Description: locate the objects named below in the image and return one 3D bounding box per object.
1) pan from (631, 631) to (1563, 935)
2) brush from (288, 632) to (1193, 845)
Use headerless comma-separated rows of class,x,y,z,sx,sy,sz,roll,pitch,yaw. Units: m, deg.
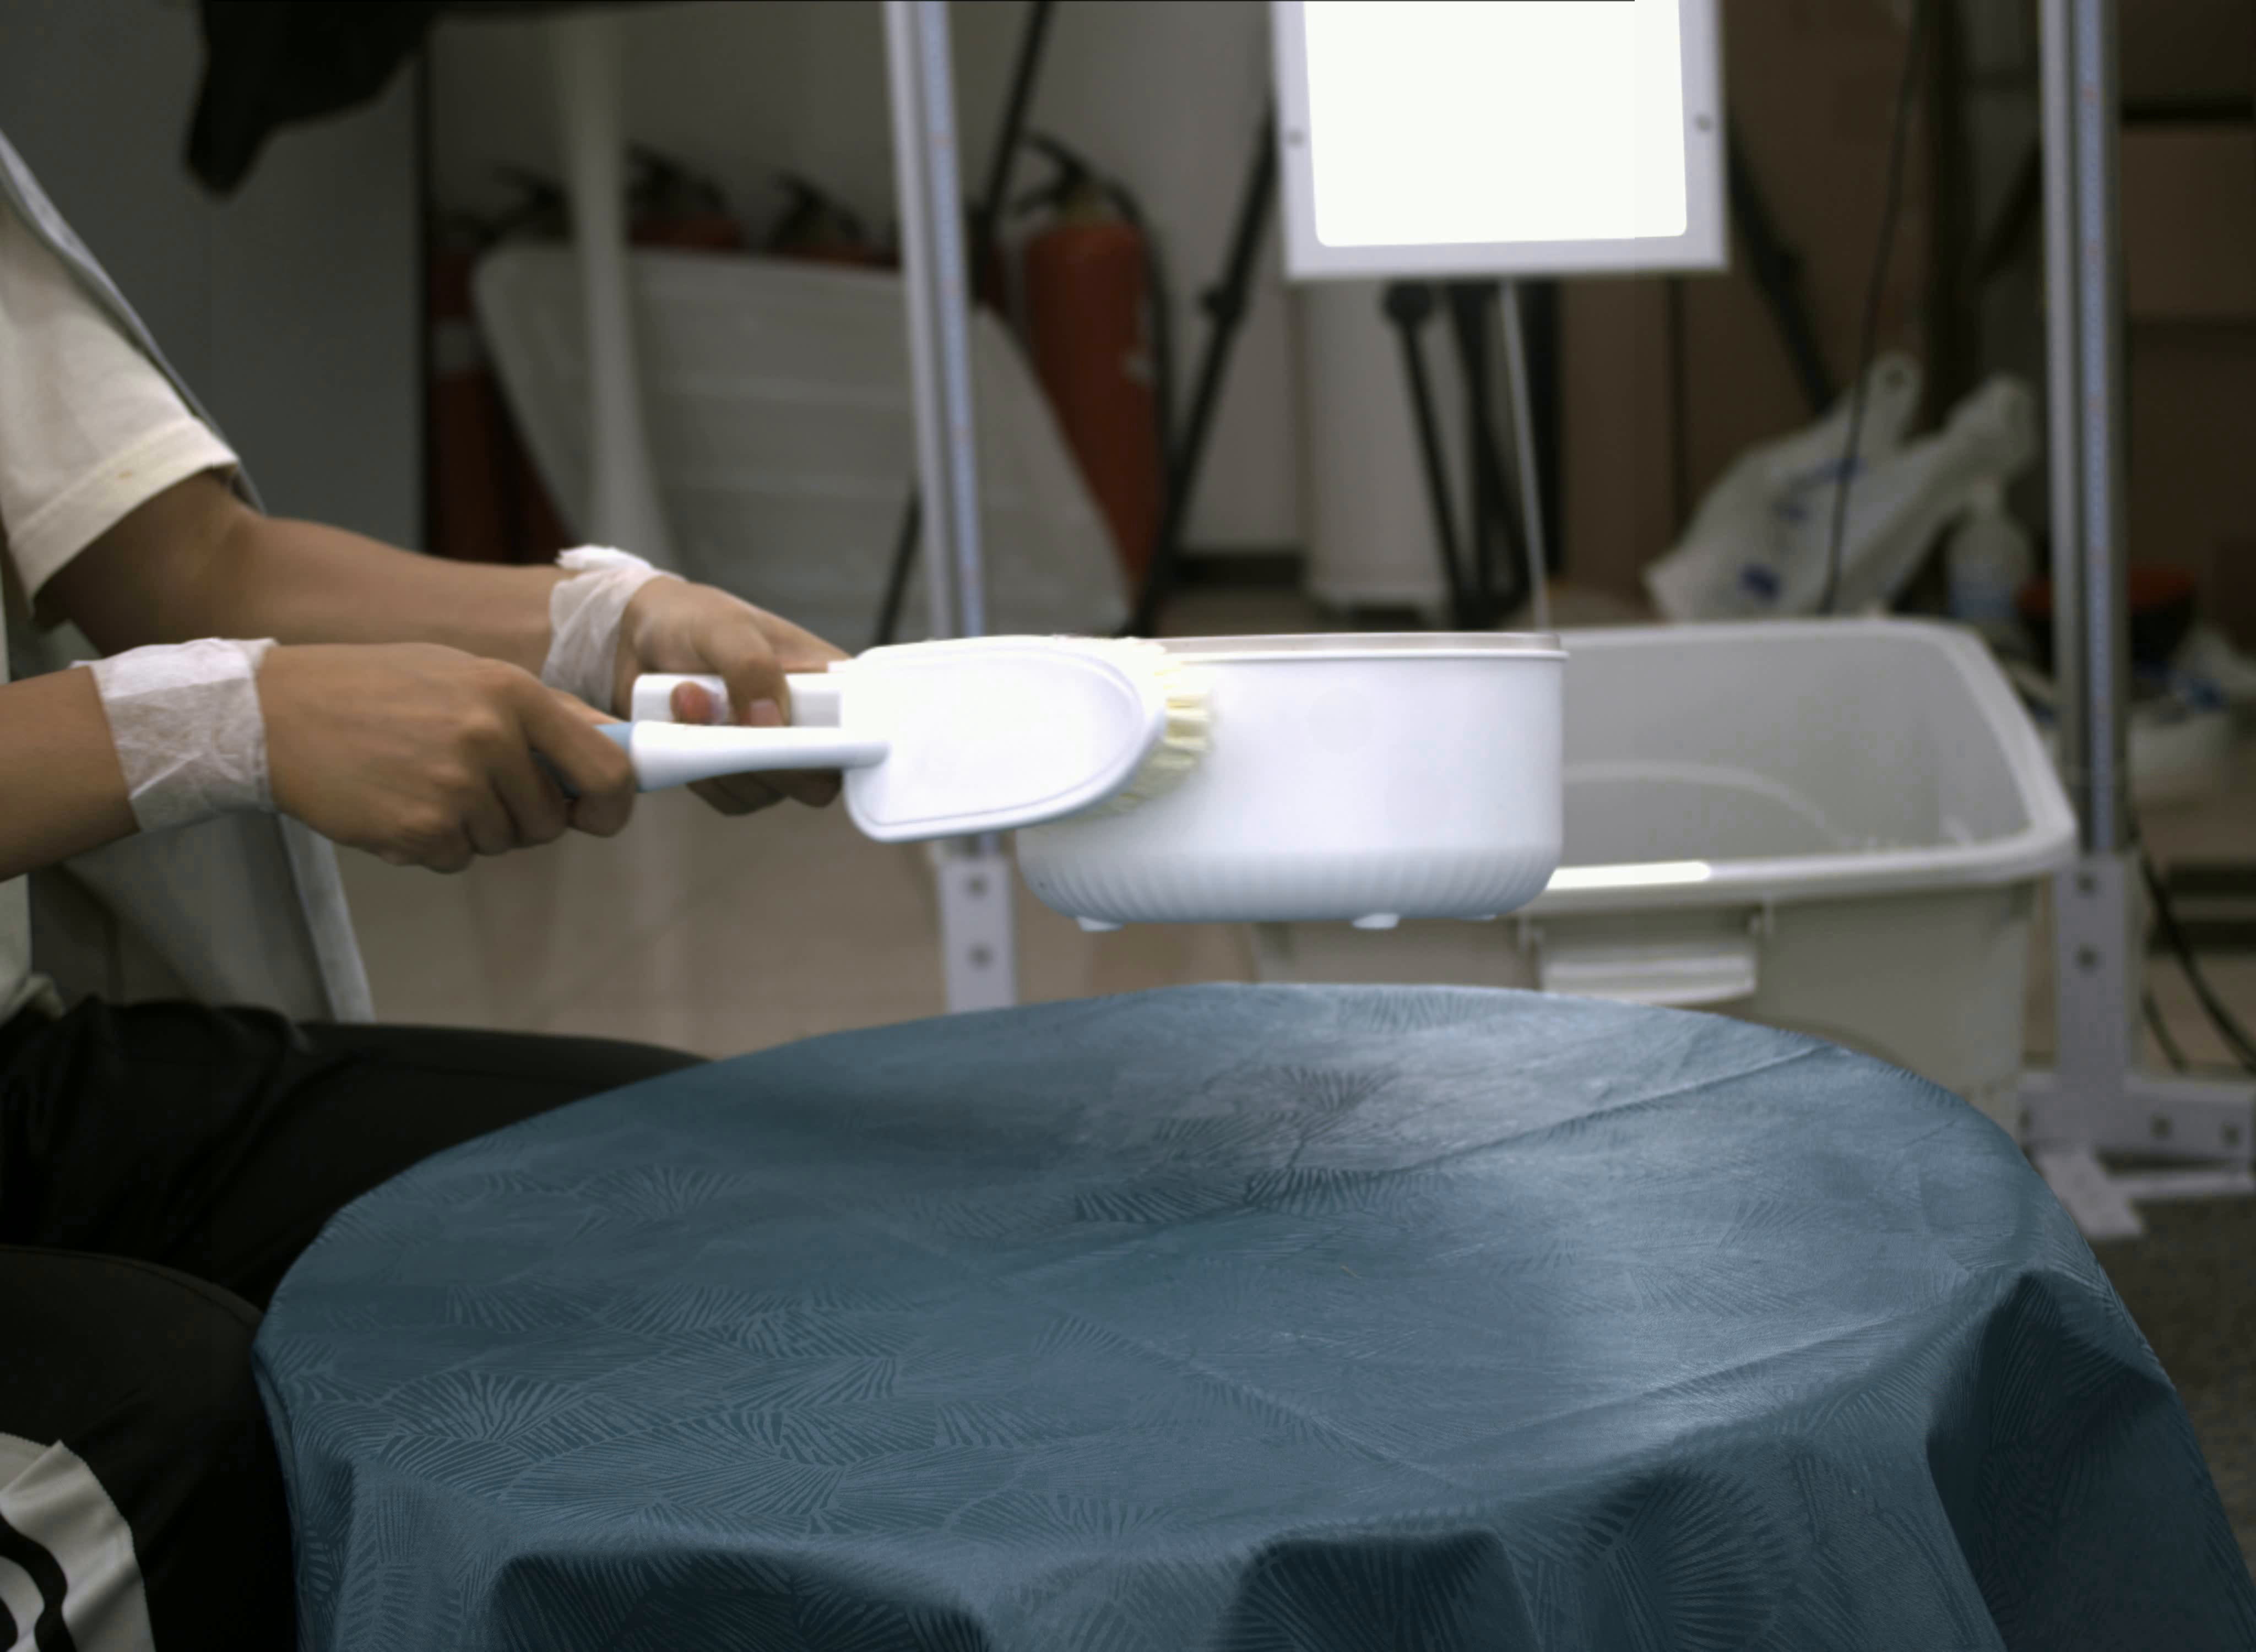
pan,-0.015,-0.012,1.977,0.360,0.102,0.197,-2,0,25
brush,-0.131,-0.028,1.899,0.329,0.084,0.082,-5,49,20
